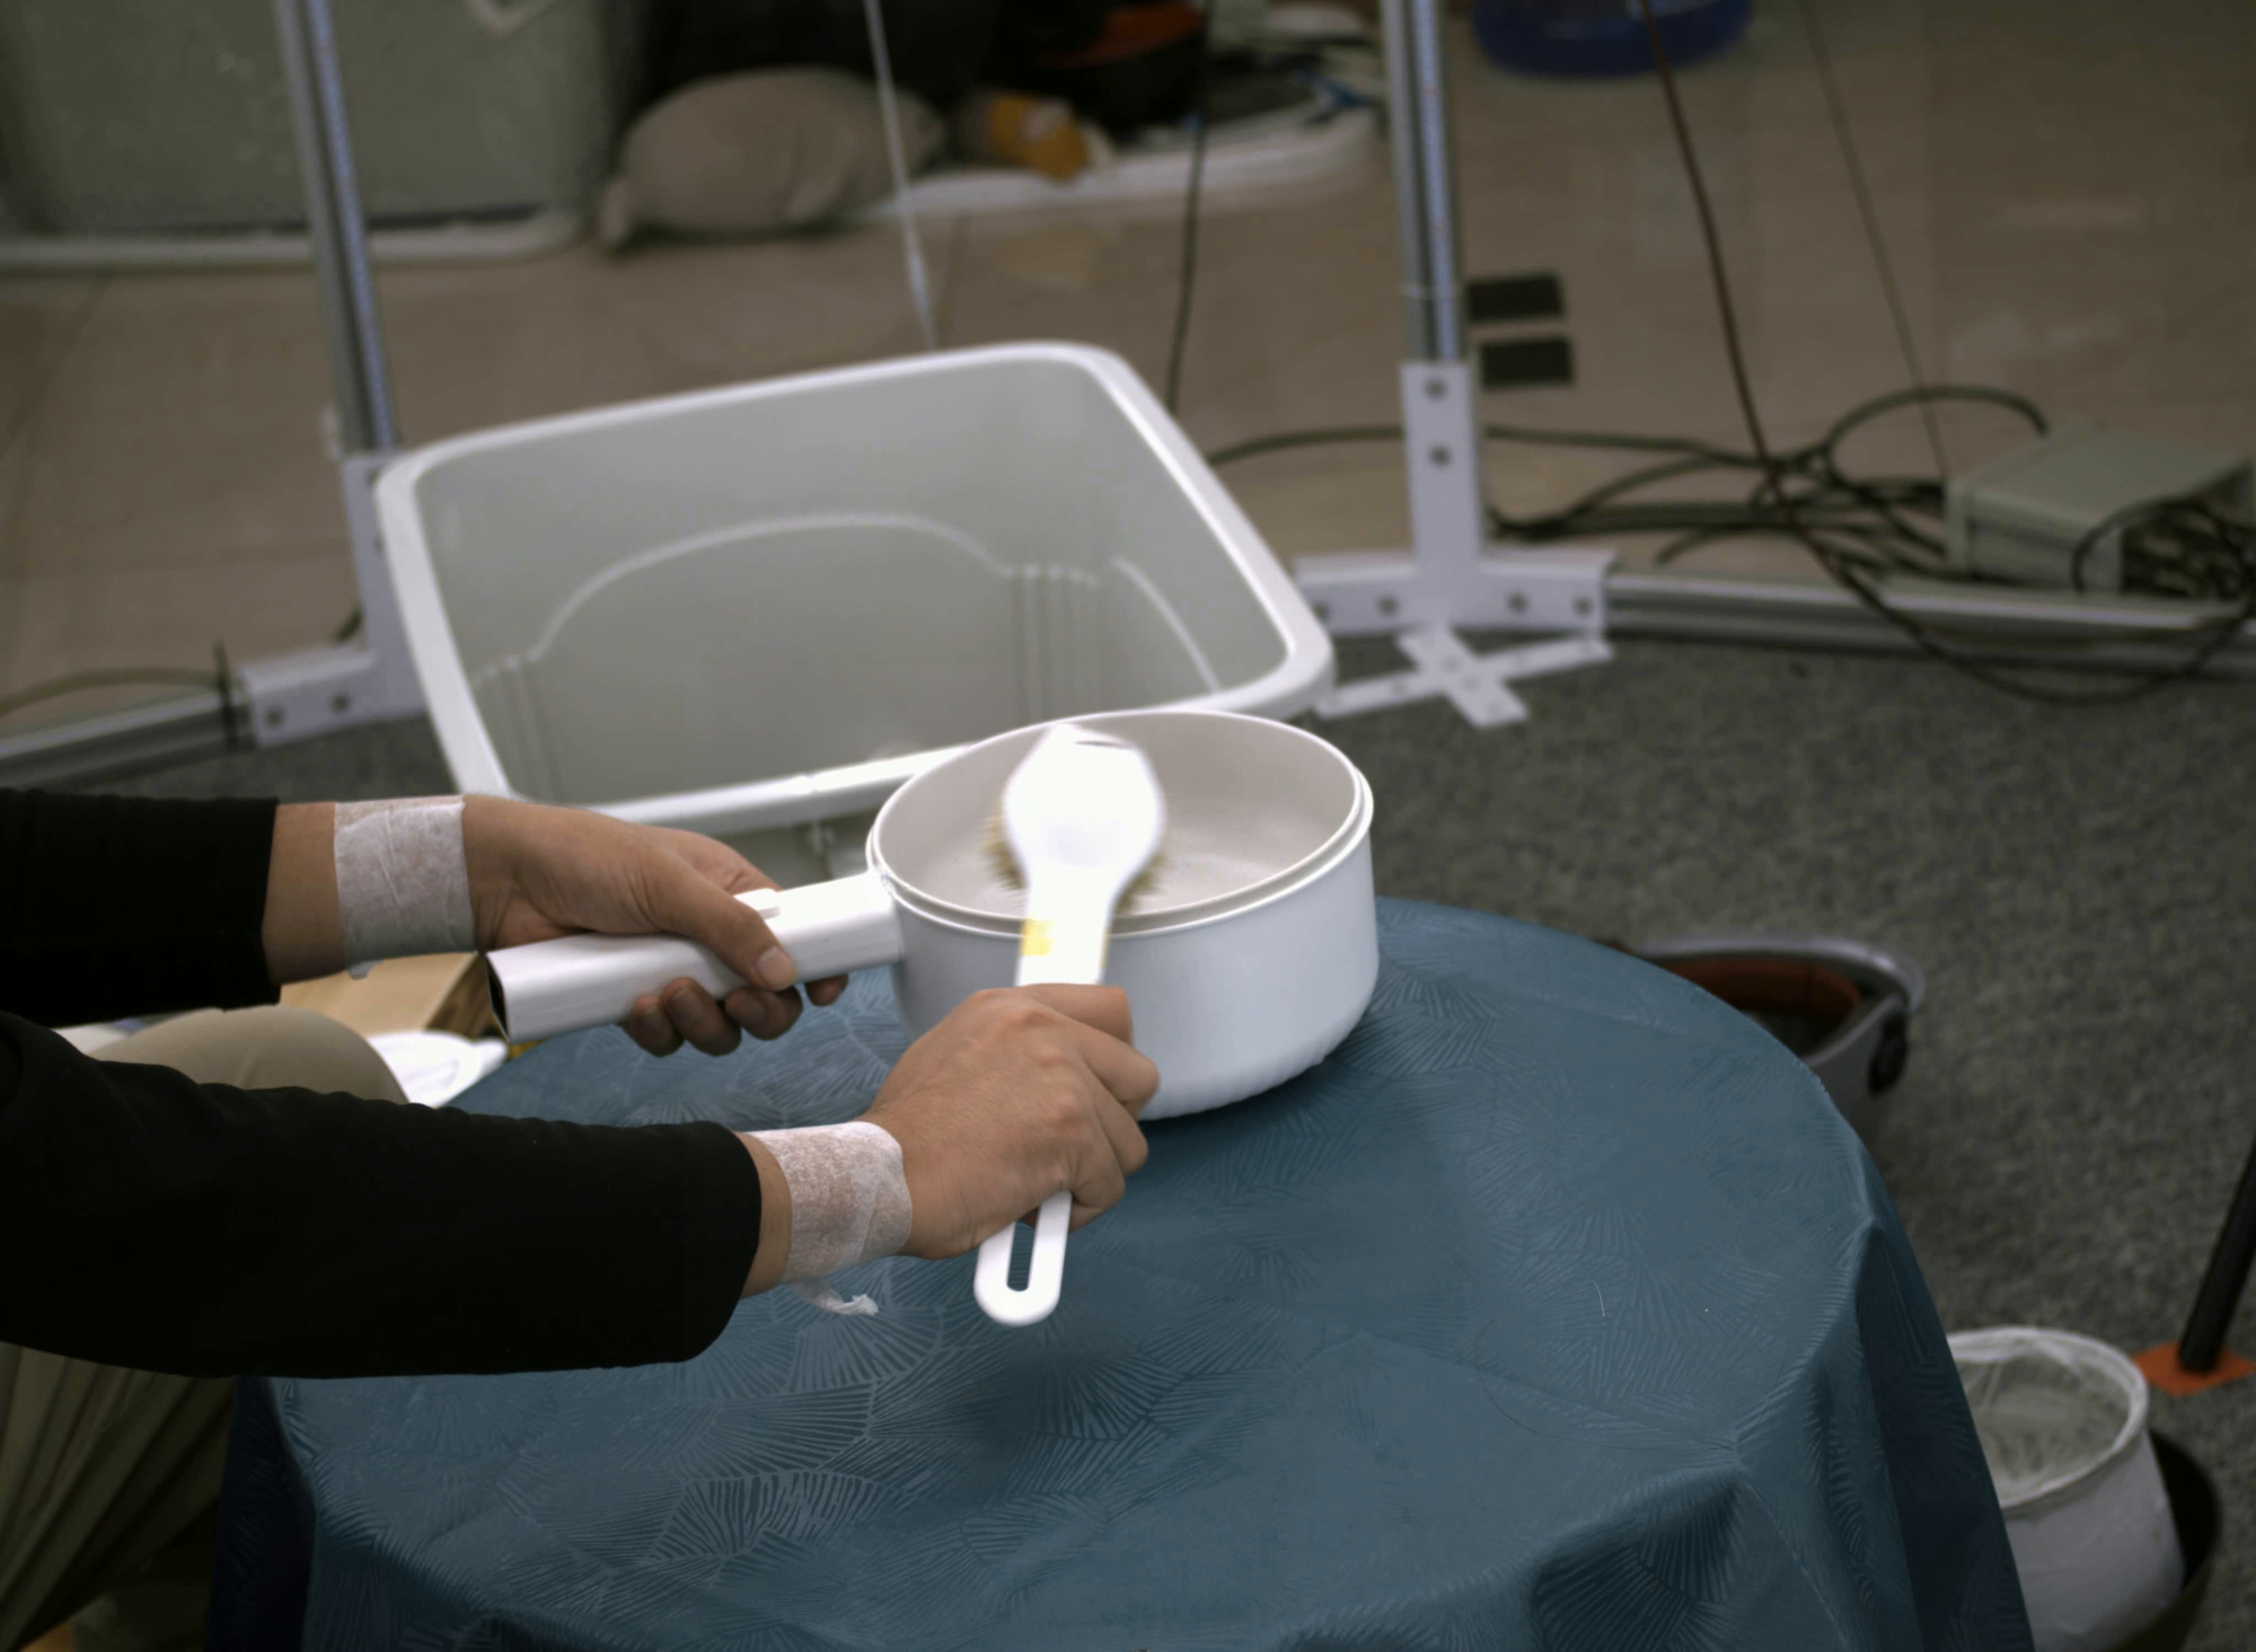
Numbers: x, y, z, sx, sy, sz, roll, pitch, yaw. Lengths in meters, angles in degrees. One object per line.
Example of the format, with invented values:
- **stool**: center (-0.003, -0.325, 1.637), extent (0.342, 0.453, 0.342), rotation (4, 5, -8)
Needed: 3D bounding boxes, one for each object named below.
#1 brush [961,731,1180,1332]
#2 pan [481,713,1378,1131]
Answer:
- **brush**: center (-0.029, 0.080, 2.037), extent (0.068, 0.057, 0.262), rotation (7, 55, 4)
- **pan**: center (-0.072, 0.059, 2.223), extent (0.354, 0.104, 0.198), rotation (-14, 27, -13)
